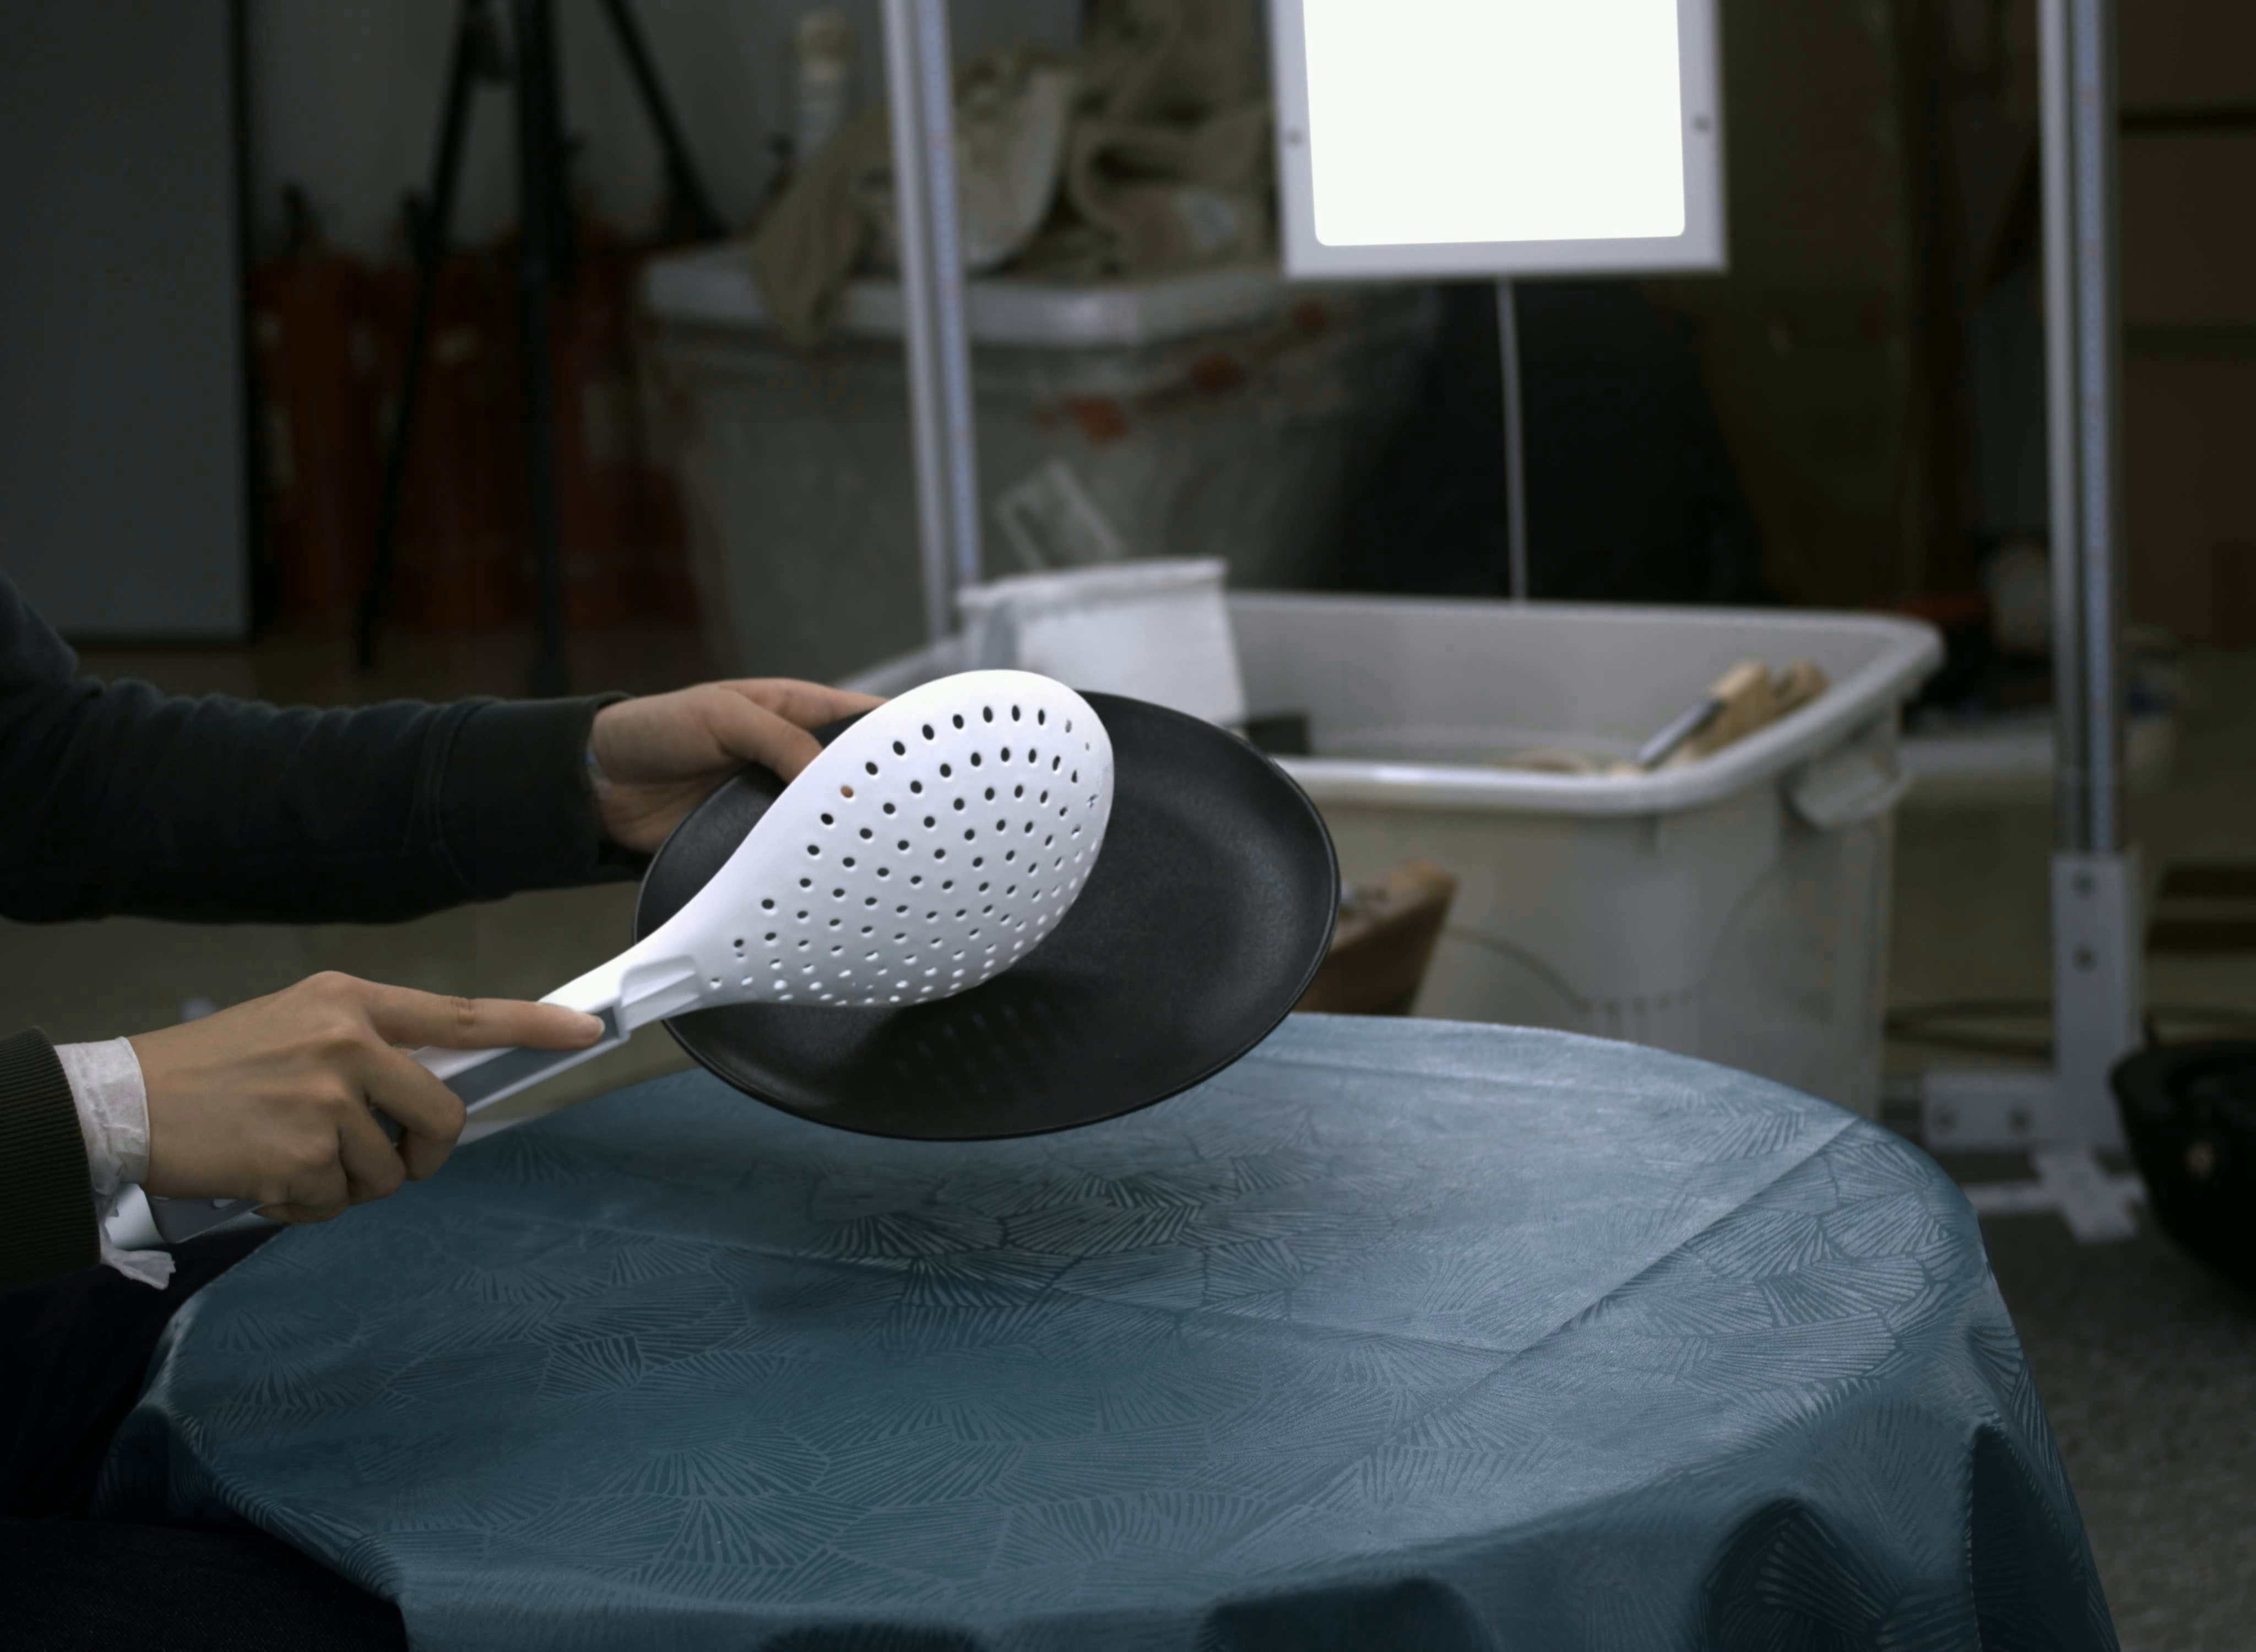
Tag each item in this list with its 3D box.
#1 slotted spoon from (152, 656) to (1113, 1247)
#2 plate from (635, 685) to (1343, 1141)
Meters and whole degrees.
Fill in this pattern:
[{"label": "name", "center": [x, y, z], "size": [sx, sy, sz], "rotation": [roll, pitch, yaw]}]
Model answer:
[{"label": "slotted spoon", "center": [-0.154, 0.050, 1.785], "size": [0.346, 0.136, 0.046], "rotation": [-22, 44, -12]}, {"label": "plate", "center": [-0.047, 0.033, 1.883], "size": [0.244, 0.023, 0.244], "rotation": [-5, 39, 3]}]
